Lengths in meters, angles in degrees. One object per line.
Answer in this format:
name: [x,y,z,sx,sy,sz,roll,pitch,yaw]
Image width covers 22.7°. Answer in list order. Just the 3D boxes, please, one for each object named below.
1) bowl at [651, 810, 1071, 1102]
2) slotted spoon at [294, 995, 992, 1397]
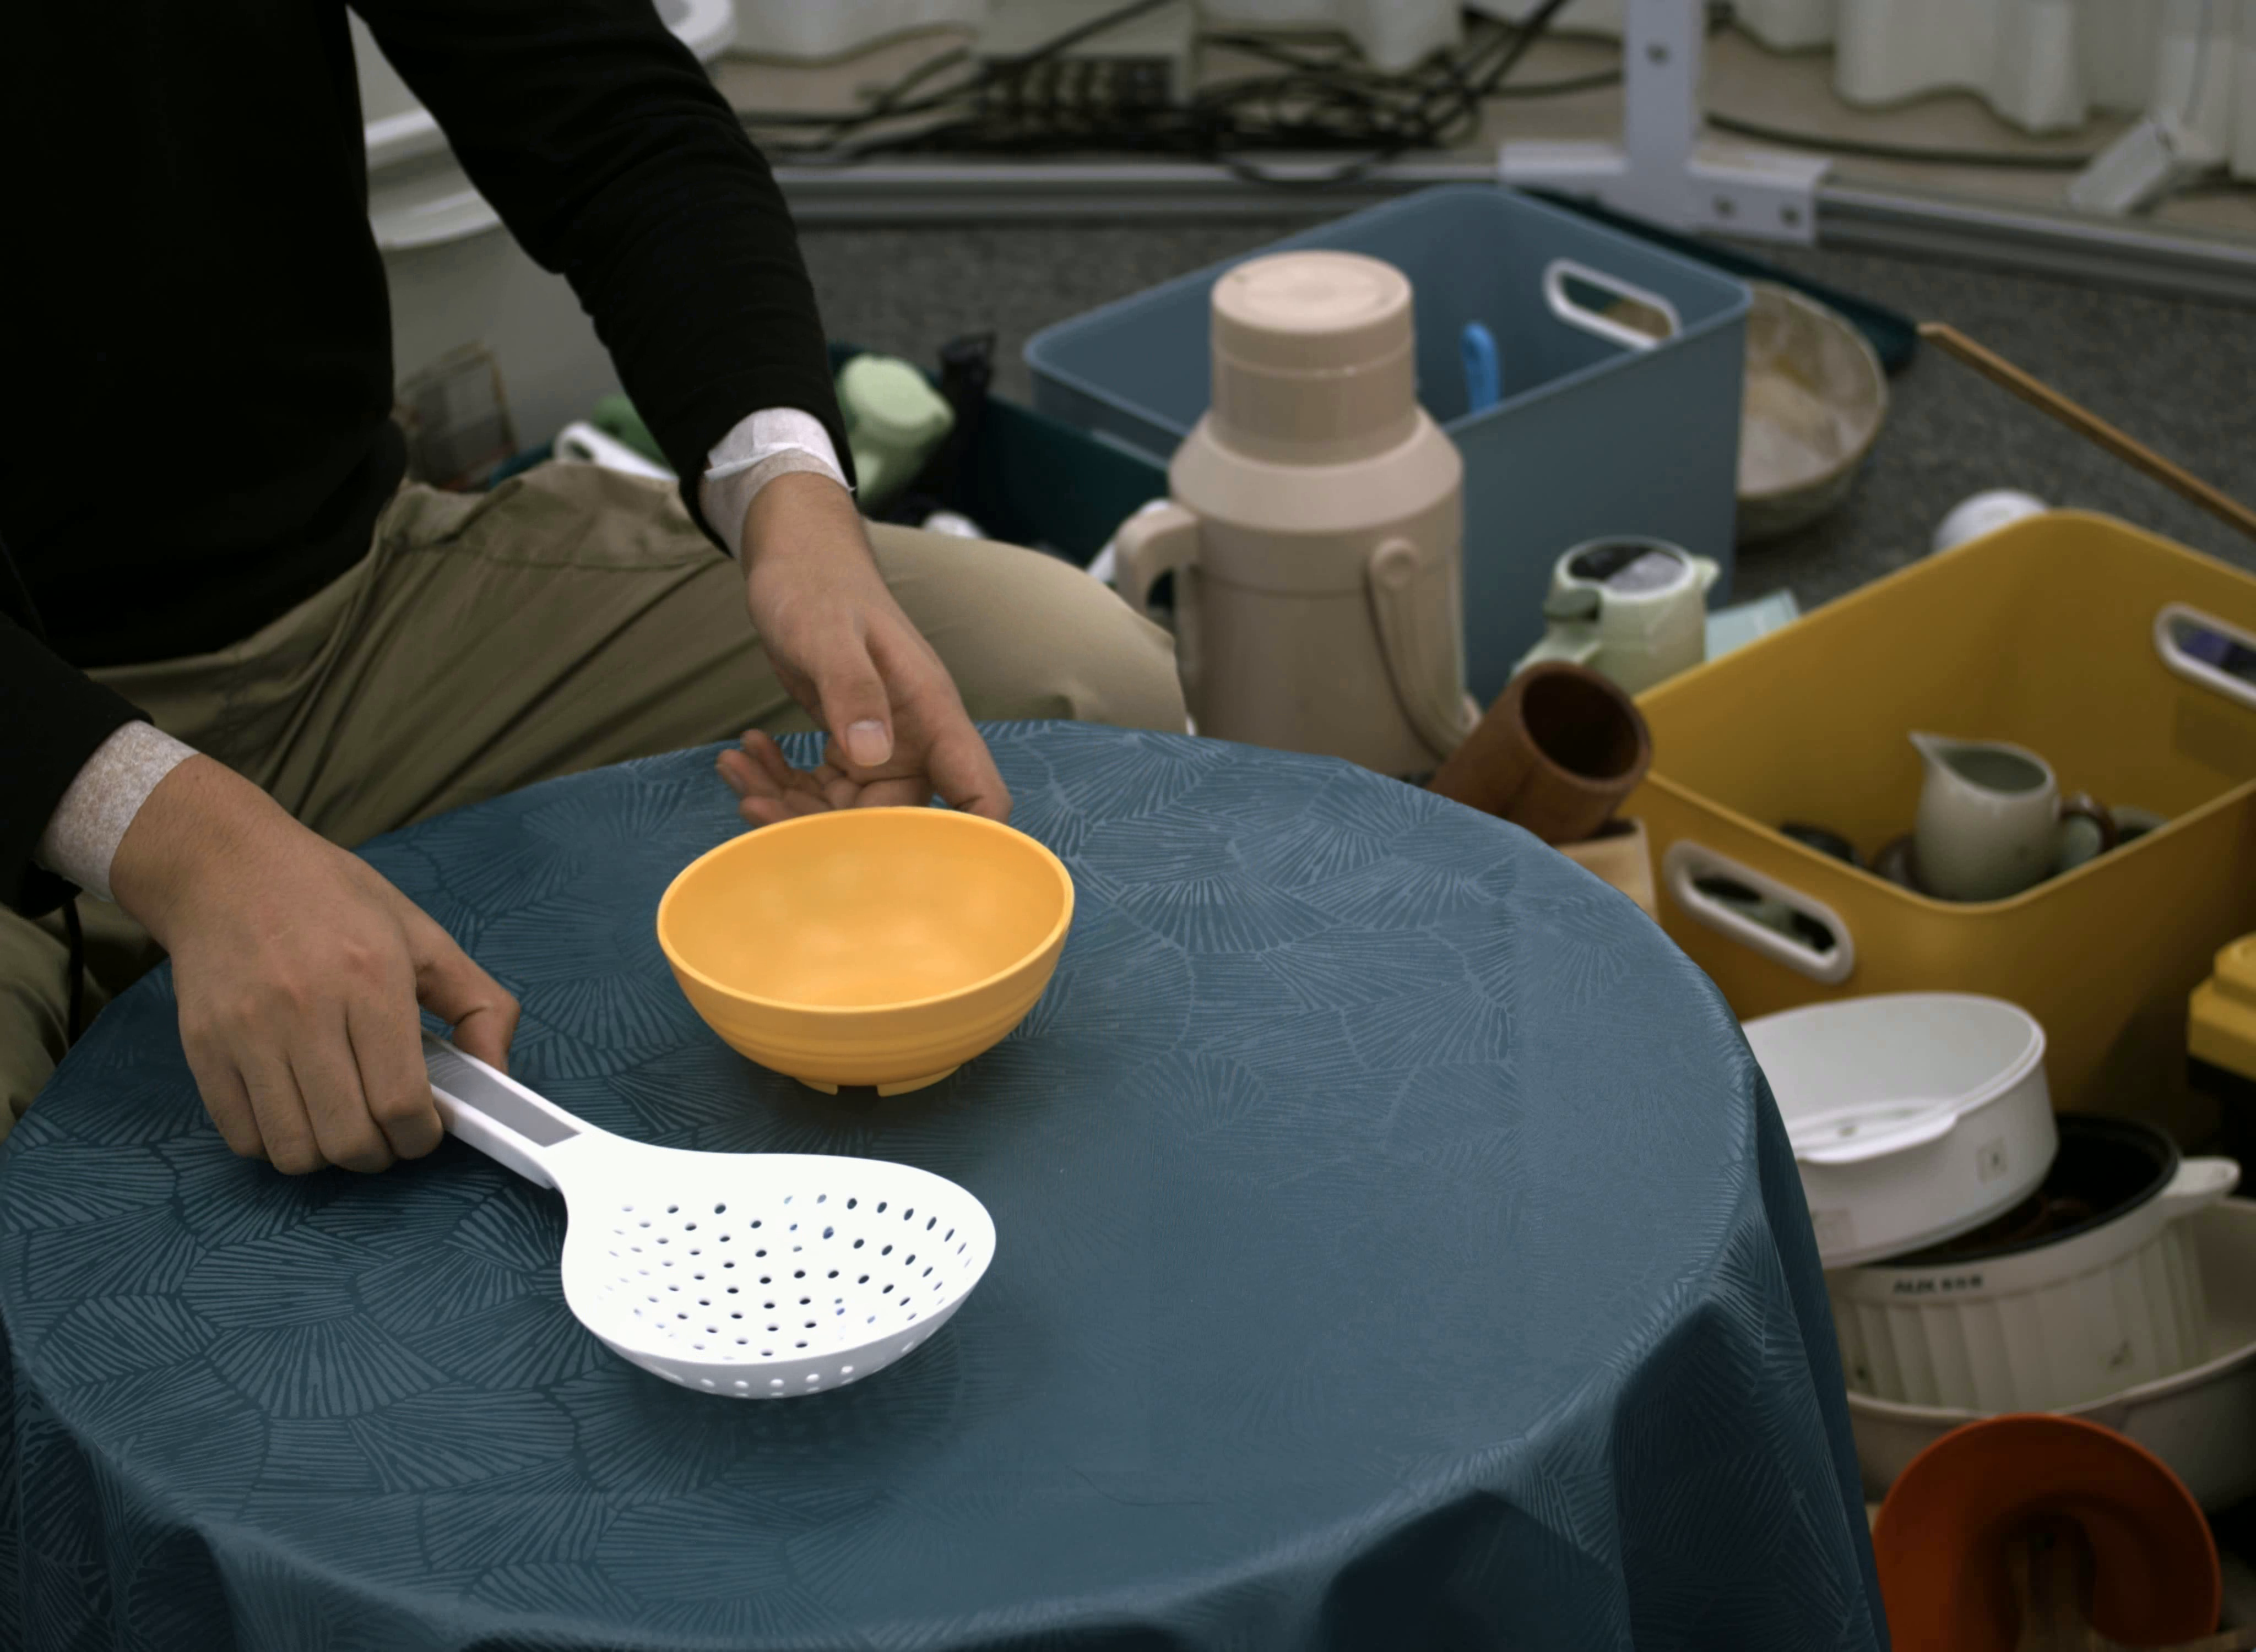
bowl: [-0.091,0.054,1.942,0.144,0.059,0.147,0,27,1]
slotted spoon: [-0.176,0.114,1.842,0.137,0.045,0.350,-21,32,-33]
